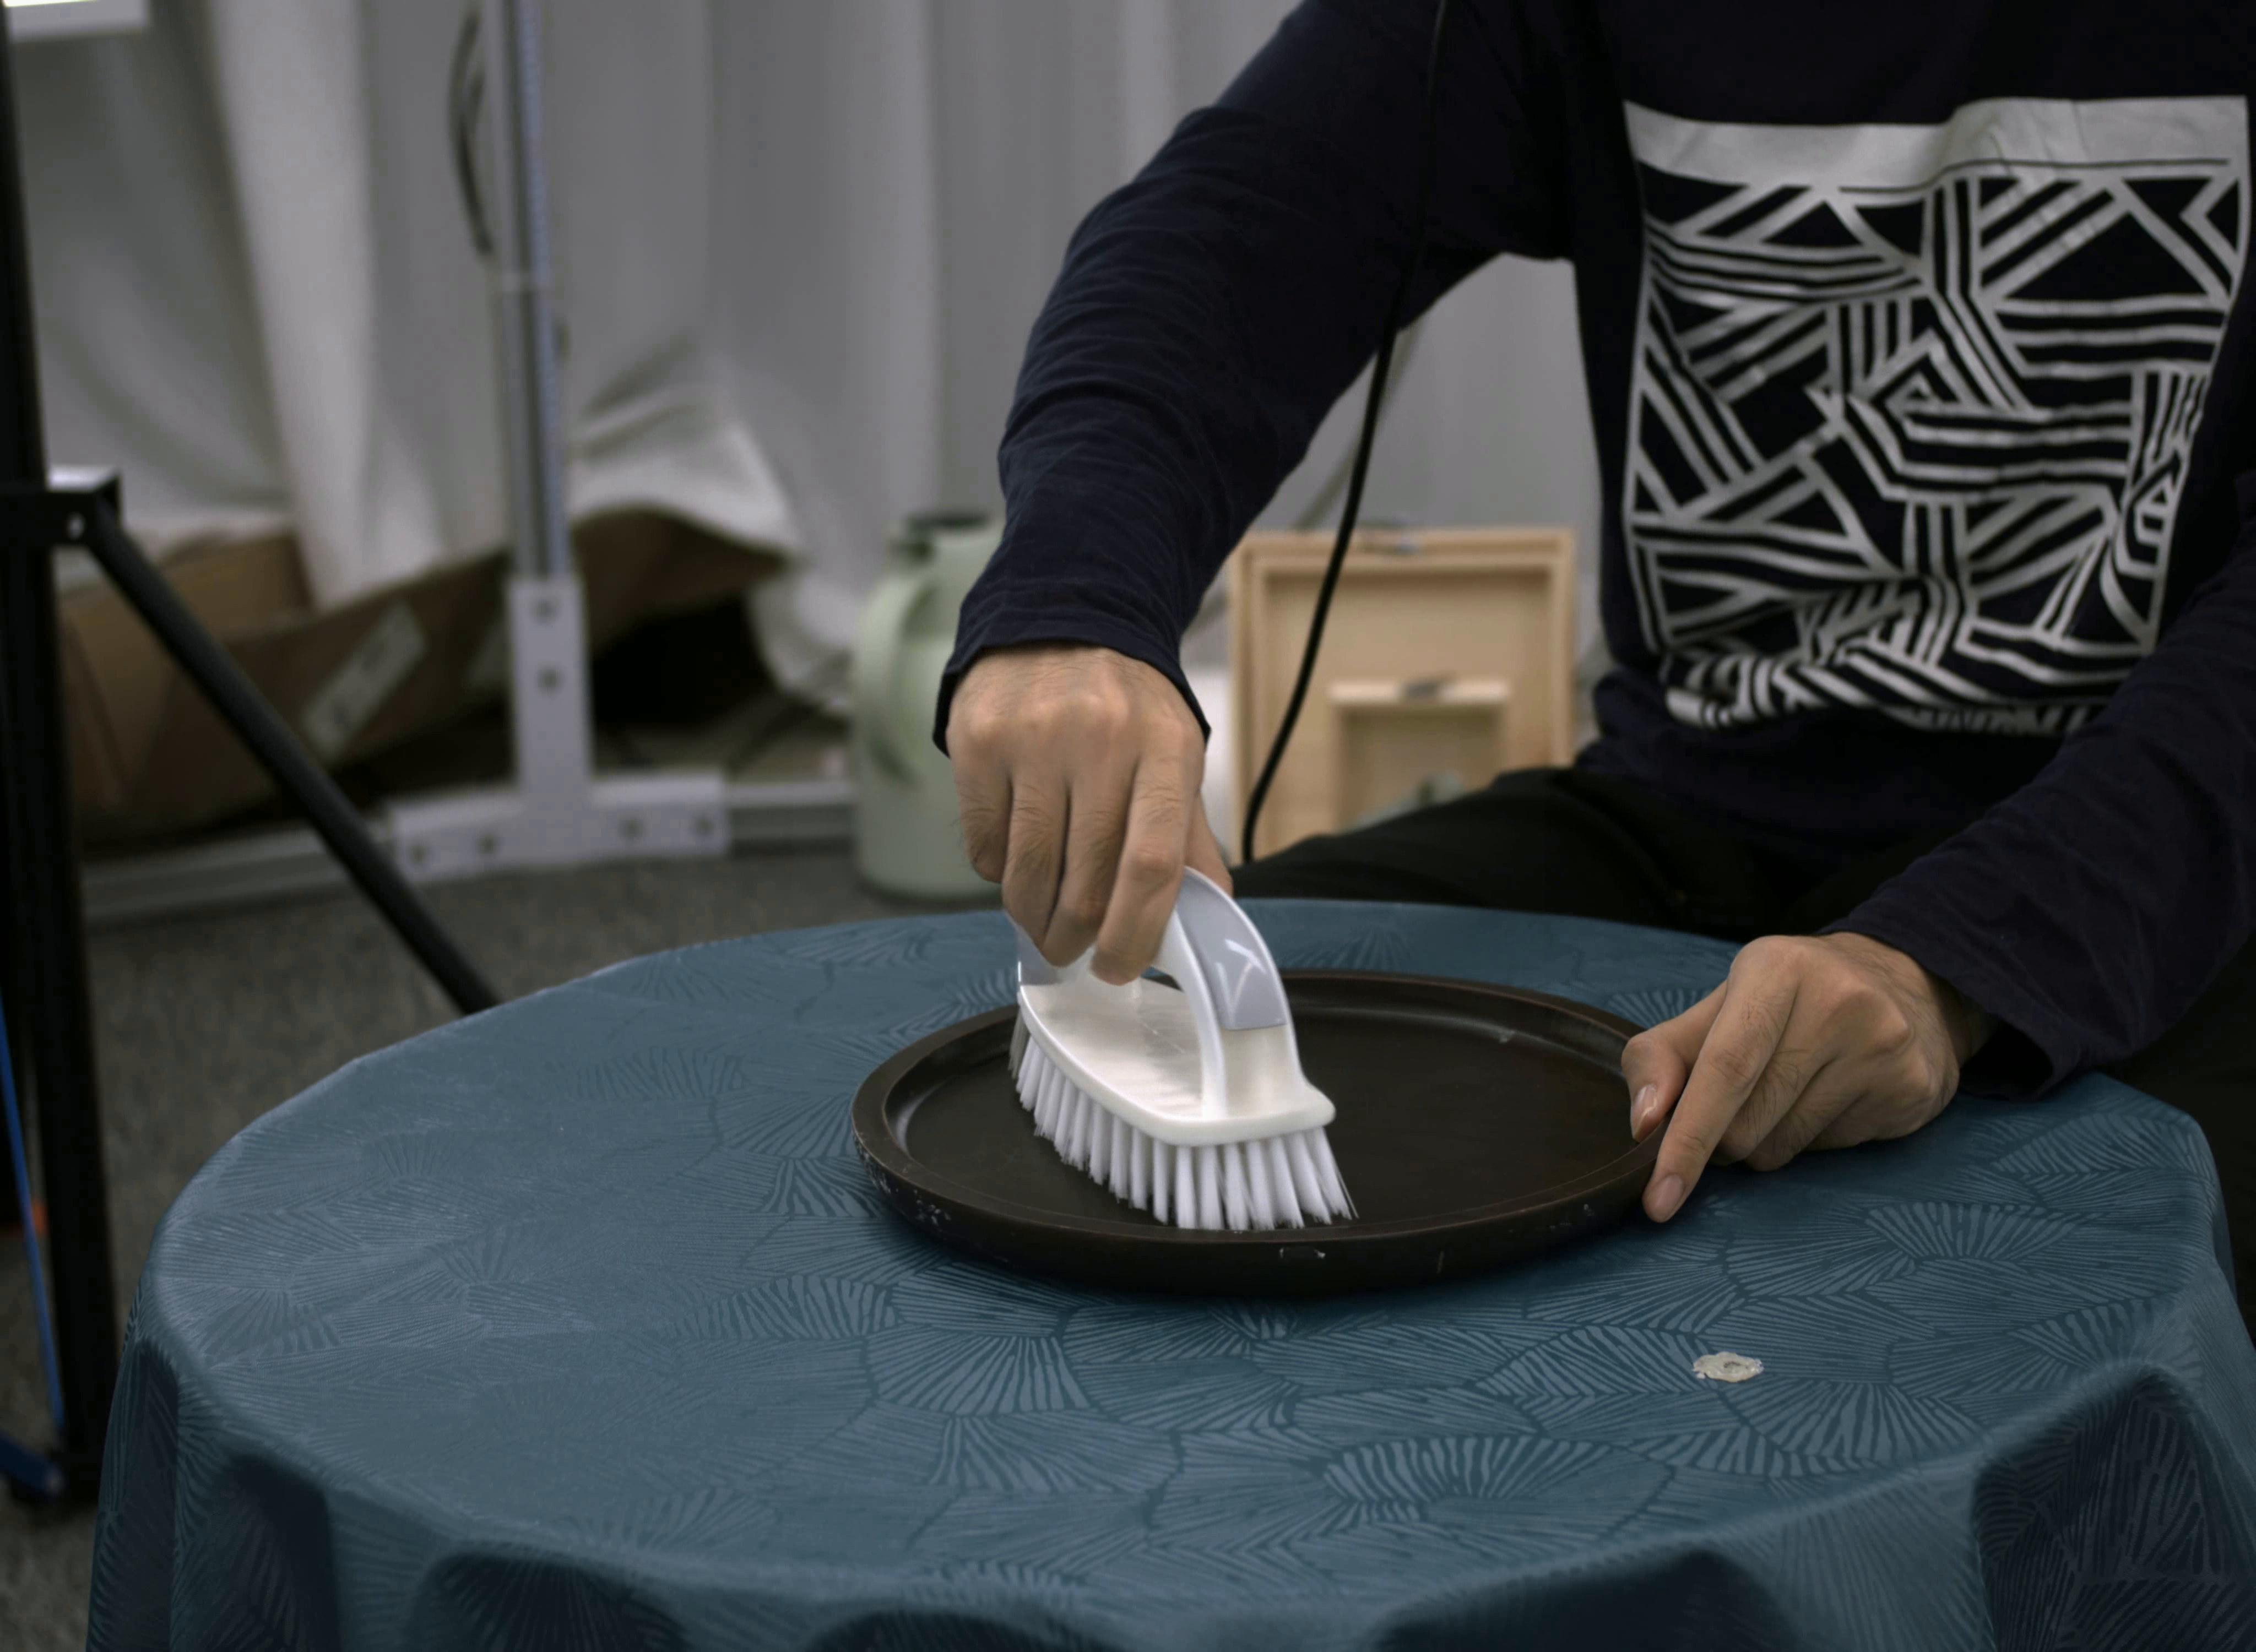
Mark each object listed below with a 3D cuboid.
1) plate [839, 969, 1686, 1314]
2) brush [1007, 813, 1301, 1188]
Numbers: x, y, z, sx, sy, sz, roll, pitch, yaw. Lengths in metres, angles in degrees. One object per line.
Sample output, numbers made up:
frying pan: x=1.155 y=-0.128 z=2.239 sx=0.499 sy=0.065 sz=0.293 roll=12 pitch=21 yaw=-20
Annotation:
plate: x=0.040 y=0.092 z=1.581 sx=0.253 sy=0.029 sz=0.256 roll=-3 pitch=17 yaw=0
brush: x=-0.003 y=0.041 z=1.551 sx=0.060 sy=0.094 sz=0.178 roll=-8 pitch=16 yaw=-18
